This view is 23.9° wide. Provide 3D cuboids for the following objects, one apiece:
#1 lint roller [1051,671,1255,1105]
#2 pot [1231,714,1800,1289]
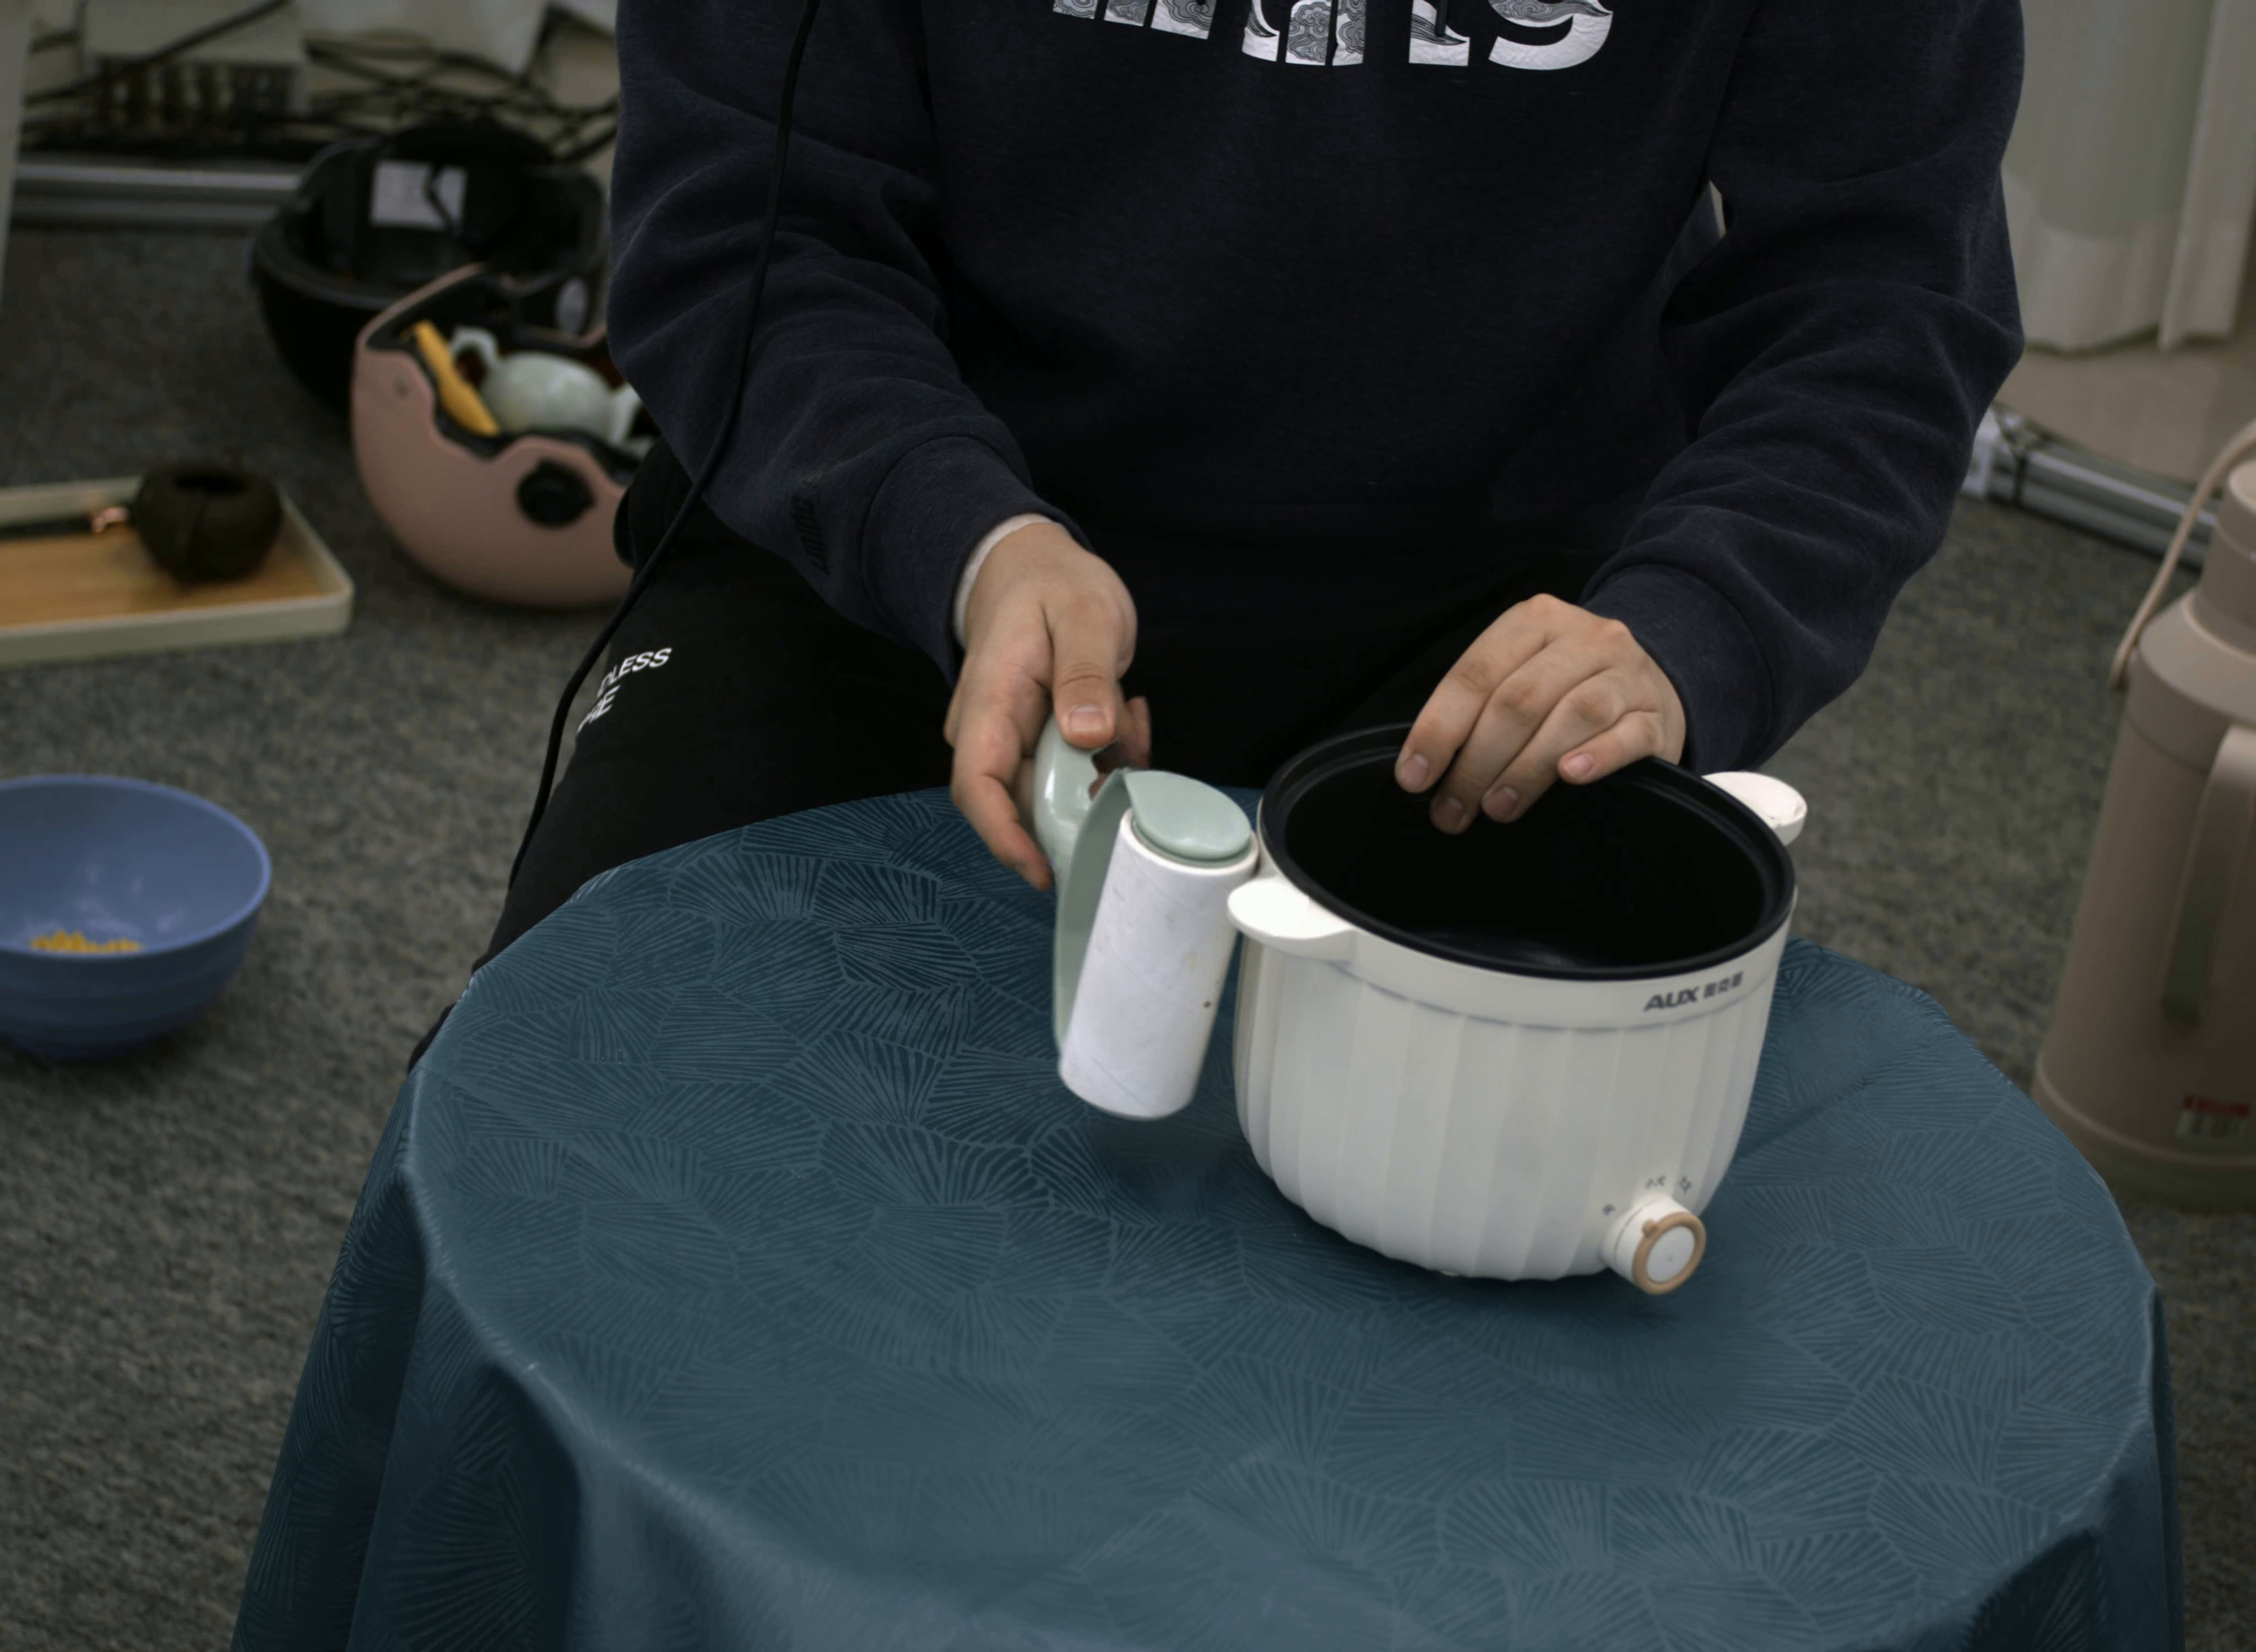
[{"bbox_3d":[-0.002,-0.002,1.841,0.048,0.116,0.199,0,32,-14],"label":"lint roller"},{"bbox_3d":[0.130,0.065,1.801,0.239,0.142,0.192,-14,30,-34],"label":"pot"}]
